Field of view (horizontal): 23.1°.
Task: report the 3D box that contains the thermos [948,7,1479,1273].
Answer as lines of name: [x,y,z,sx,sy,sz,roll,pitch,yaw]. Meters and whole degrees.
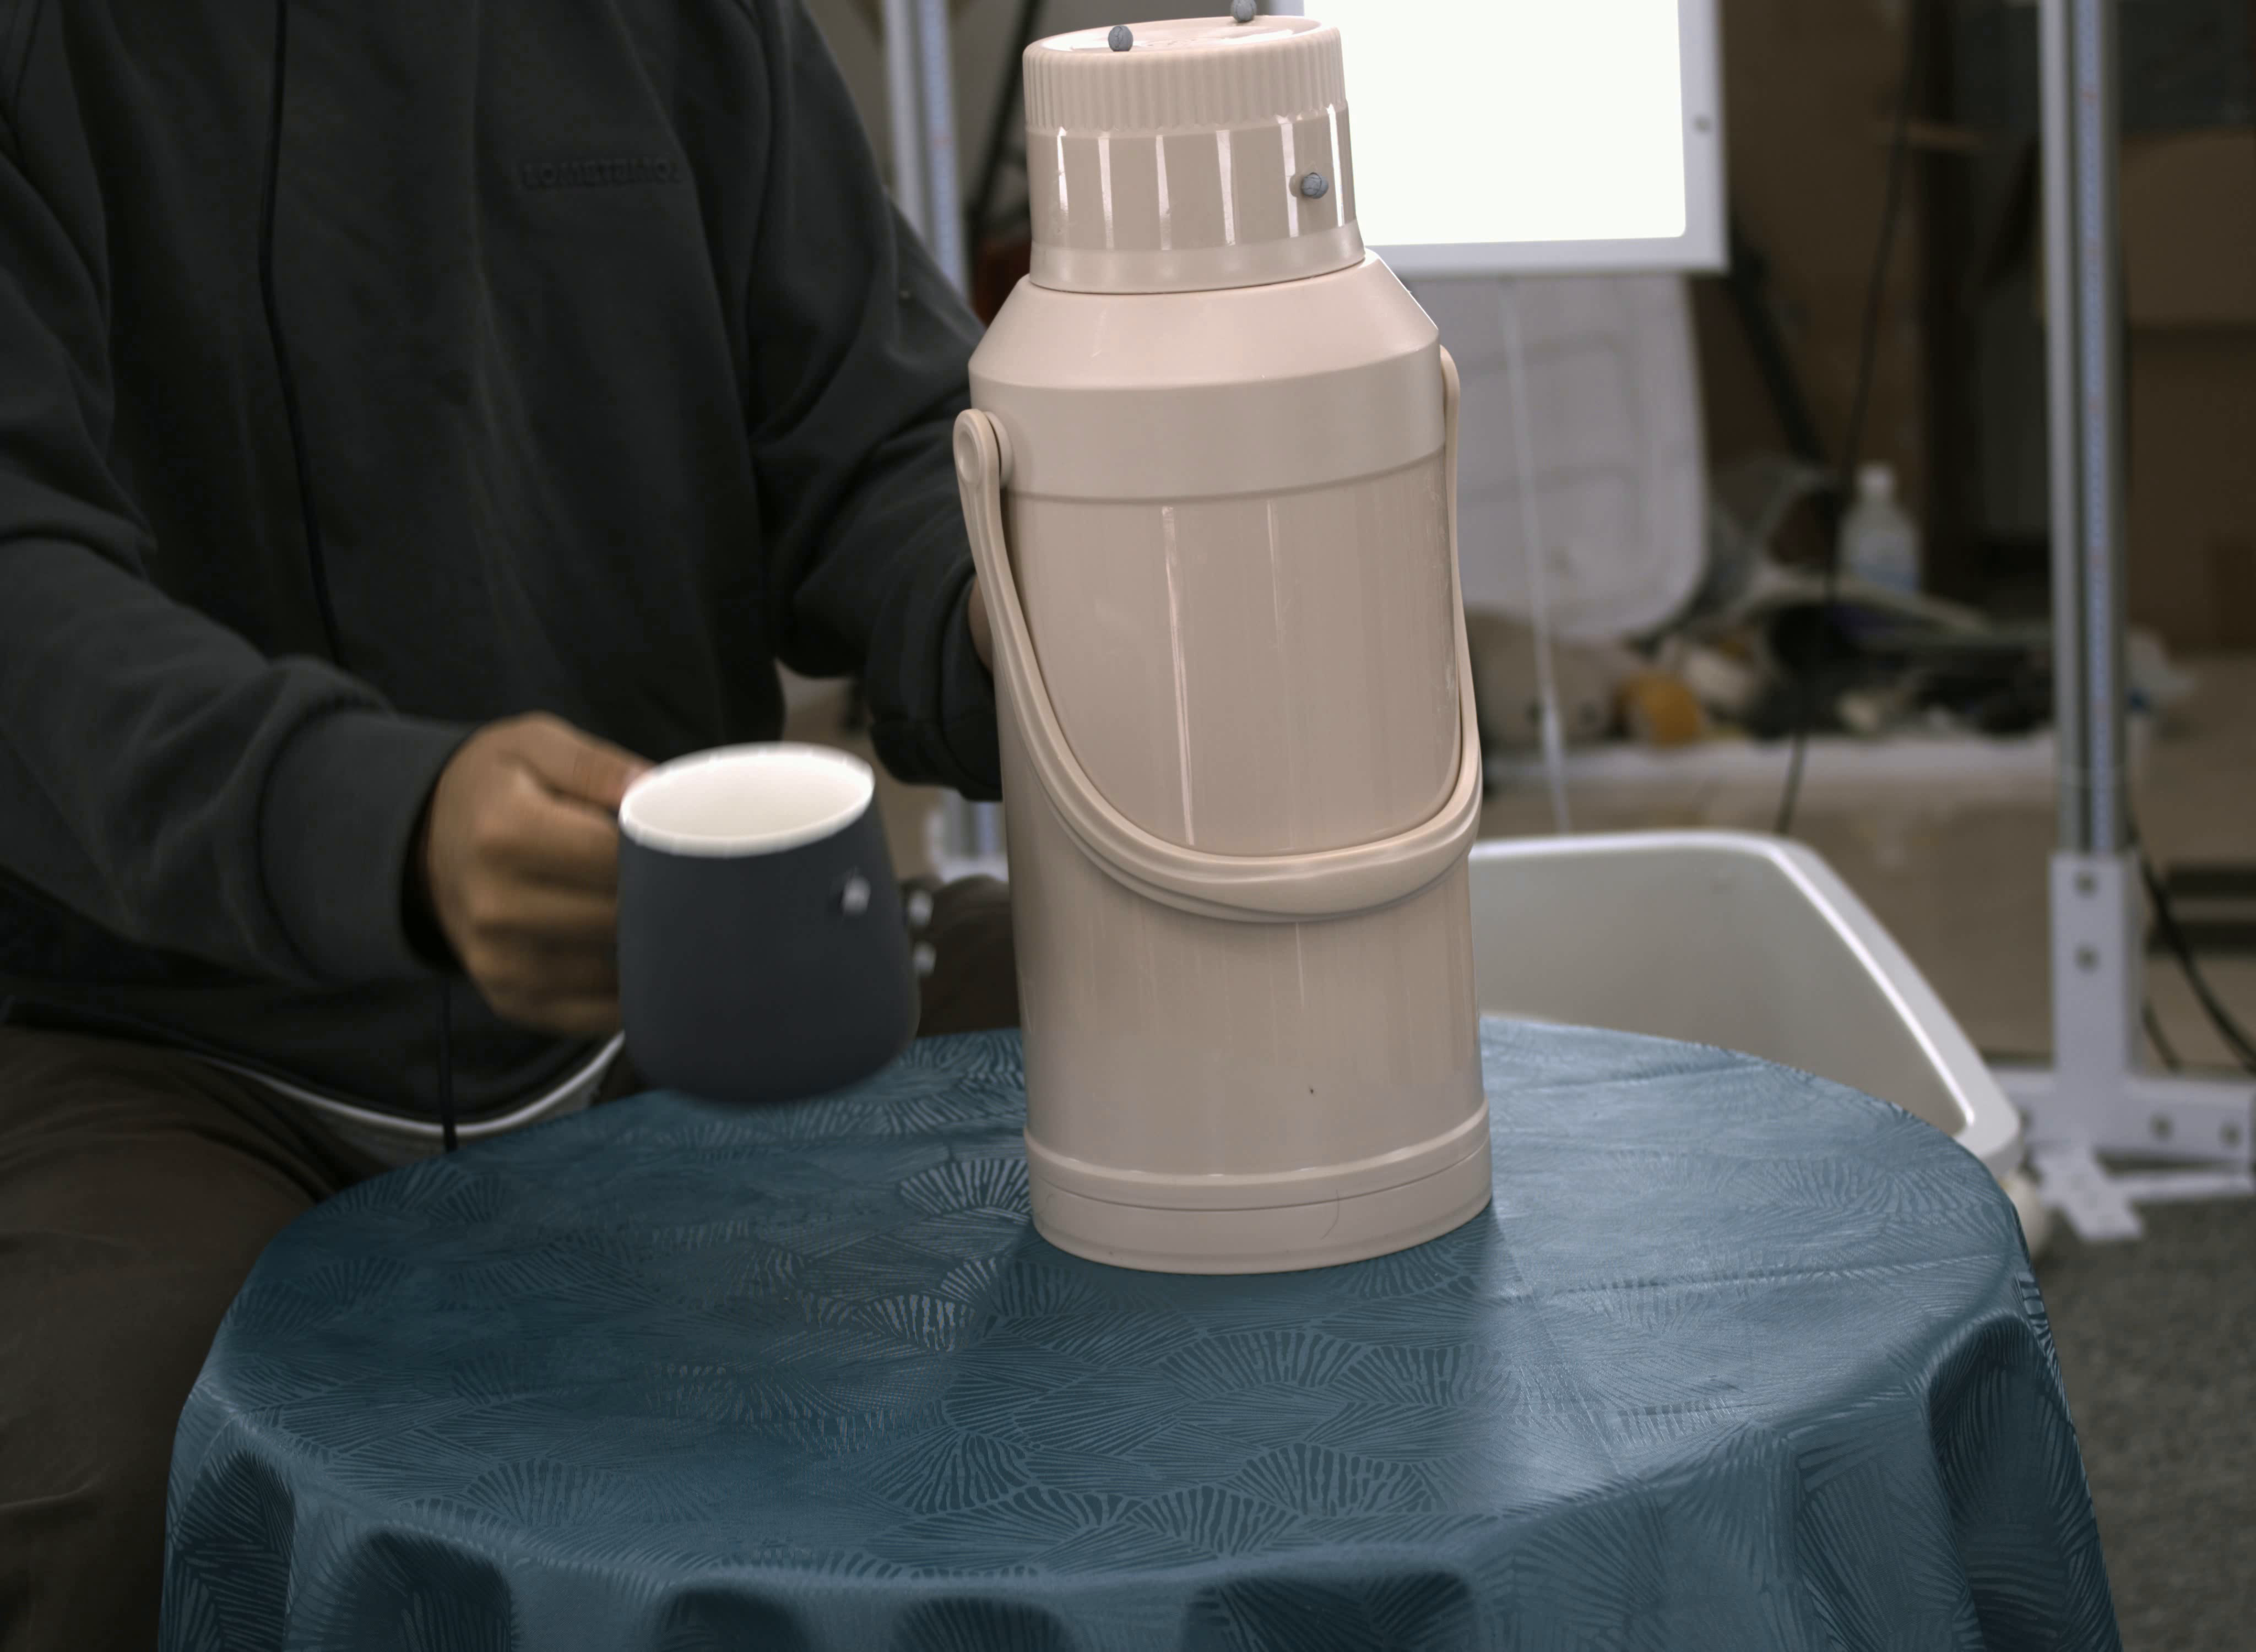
thermos: [0.025,-0.067,1.842,0.172,0.408,0.210,-10,15,-23]

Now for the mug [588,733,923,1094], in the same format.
mug: [-0.123,0.024,1.713,0.091,0.090,0.126,-25,29,-38]
